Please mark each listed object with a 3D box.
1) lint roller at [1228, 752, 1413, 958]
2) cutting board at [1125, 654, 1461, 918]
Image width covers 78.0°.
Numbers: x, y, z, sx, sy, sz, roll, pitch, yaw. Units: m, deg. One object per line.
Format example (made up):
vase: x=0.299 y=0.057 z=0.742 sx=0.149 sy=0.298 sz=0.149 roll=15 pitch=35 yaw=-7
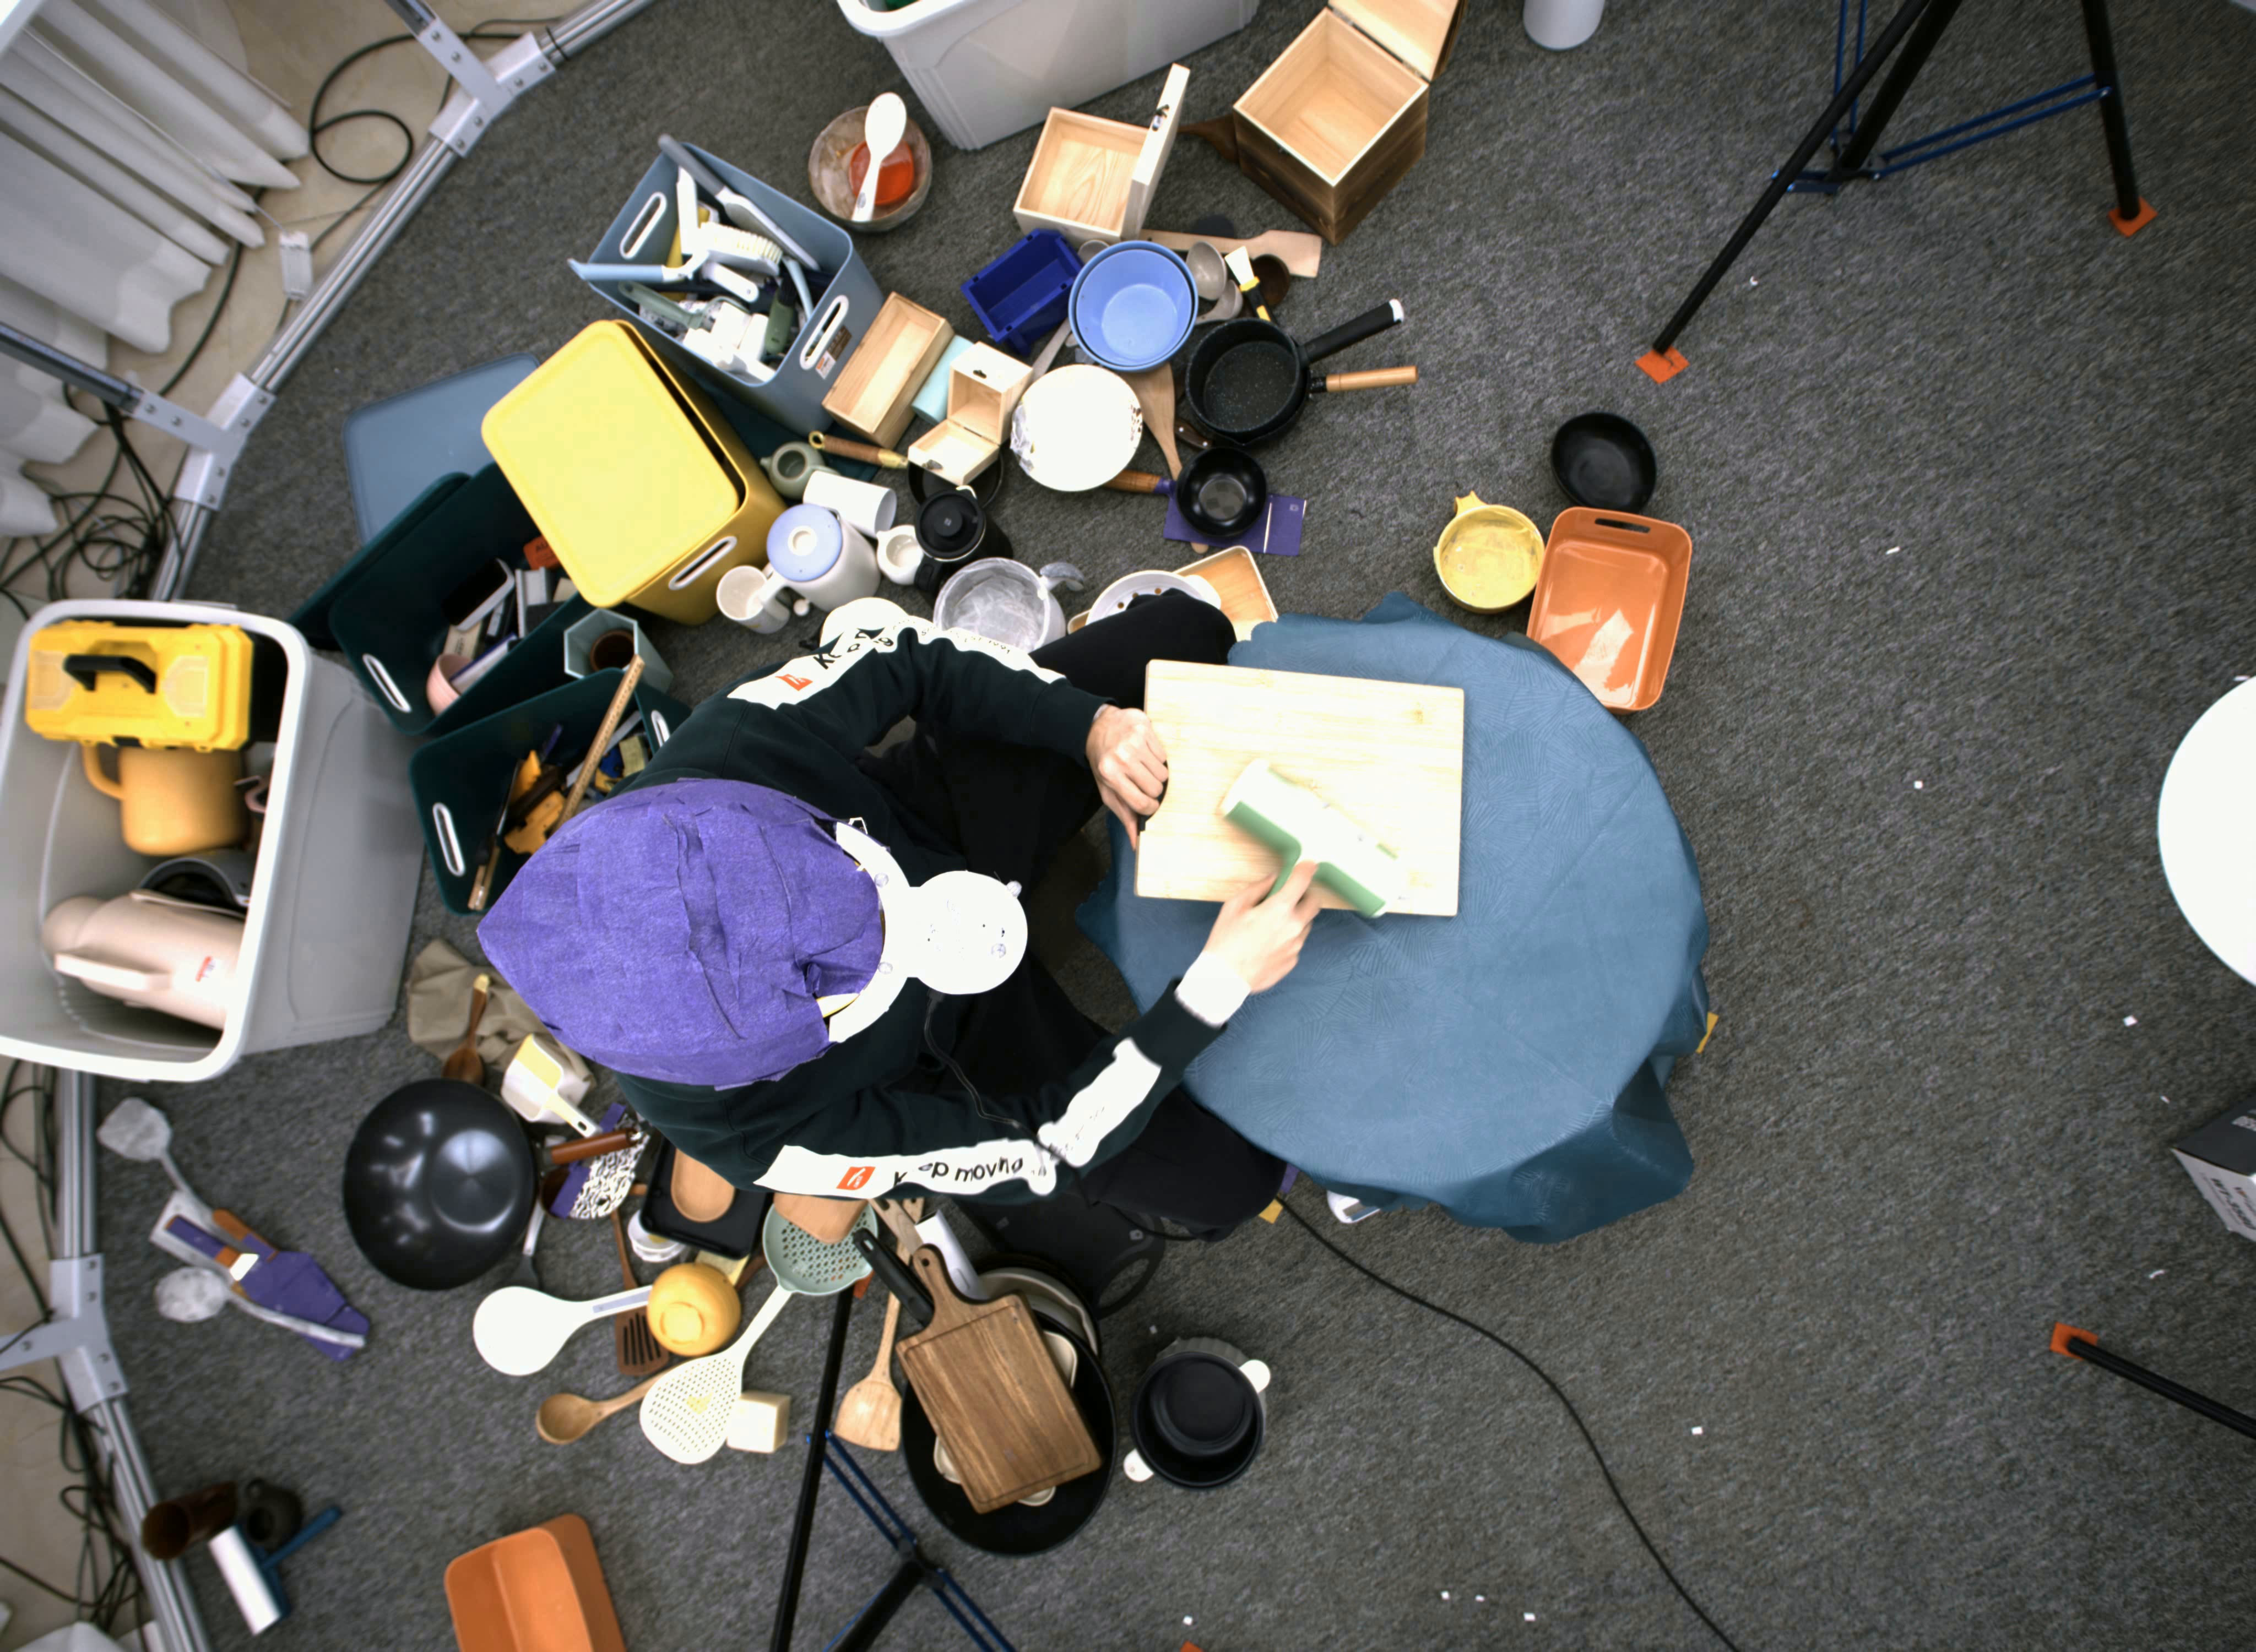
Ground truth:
lint roller: x=0.170 y=0.045 z=1.338 sx=0.199 sy=0.084 sz=0.179 roll=36 pitch=60 yaw=-7
cutting board: x=0.173 y=-0.039 z=1.409 sx=0.348 sy=0.024 sz=0.250 roll=3 pitch=87 yaw=-10
